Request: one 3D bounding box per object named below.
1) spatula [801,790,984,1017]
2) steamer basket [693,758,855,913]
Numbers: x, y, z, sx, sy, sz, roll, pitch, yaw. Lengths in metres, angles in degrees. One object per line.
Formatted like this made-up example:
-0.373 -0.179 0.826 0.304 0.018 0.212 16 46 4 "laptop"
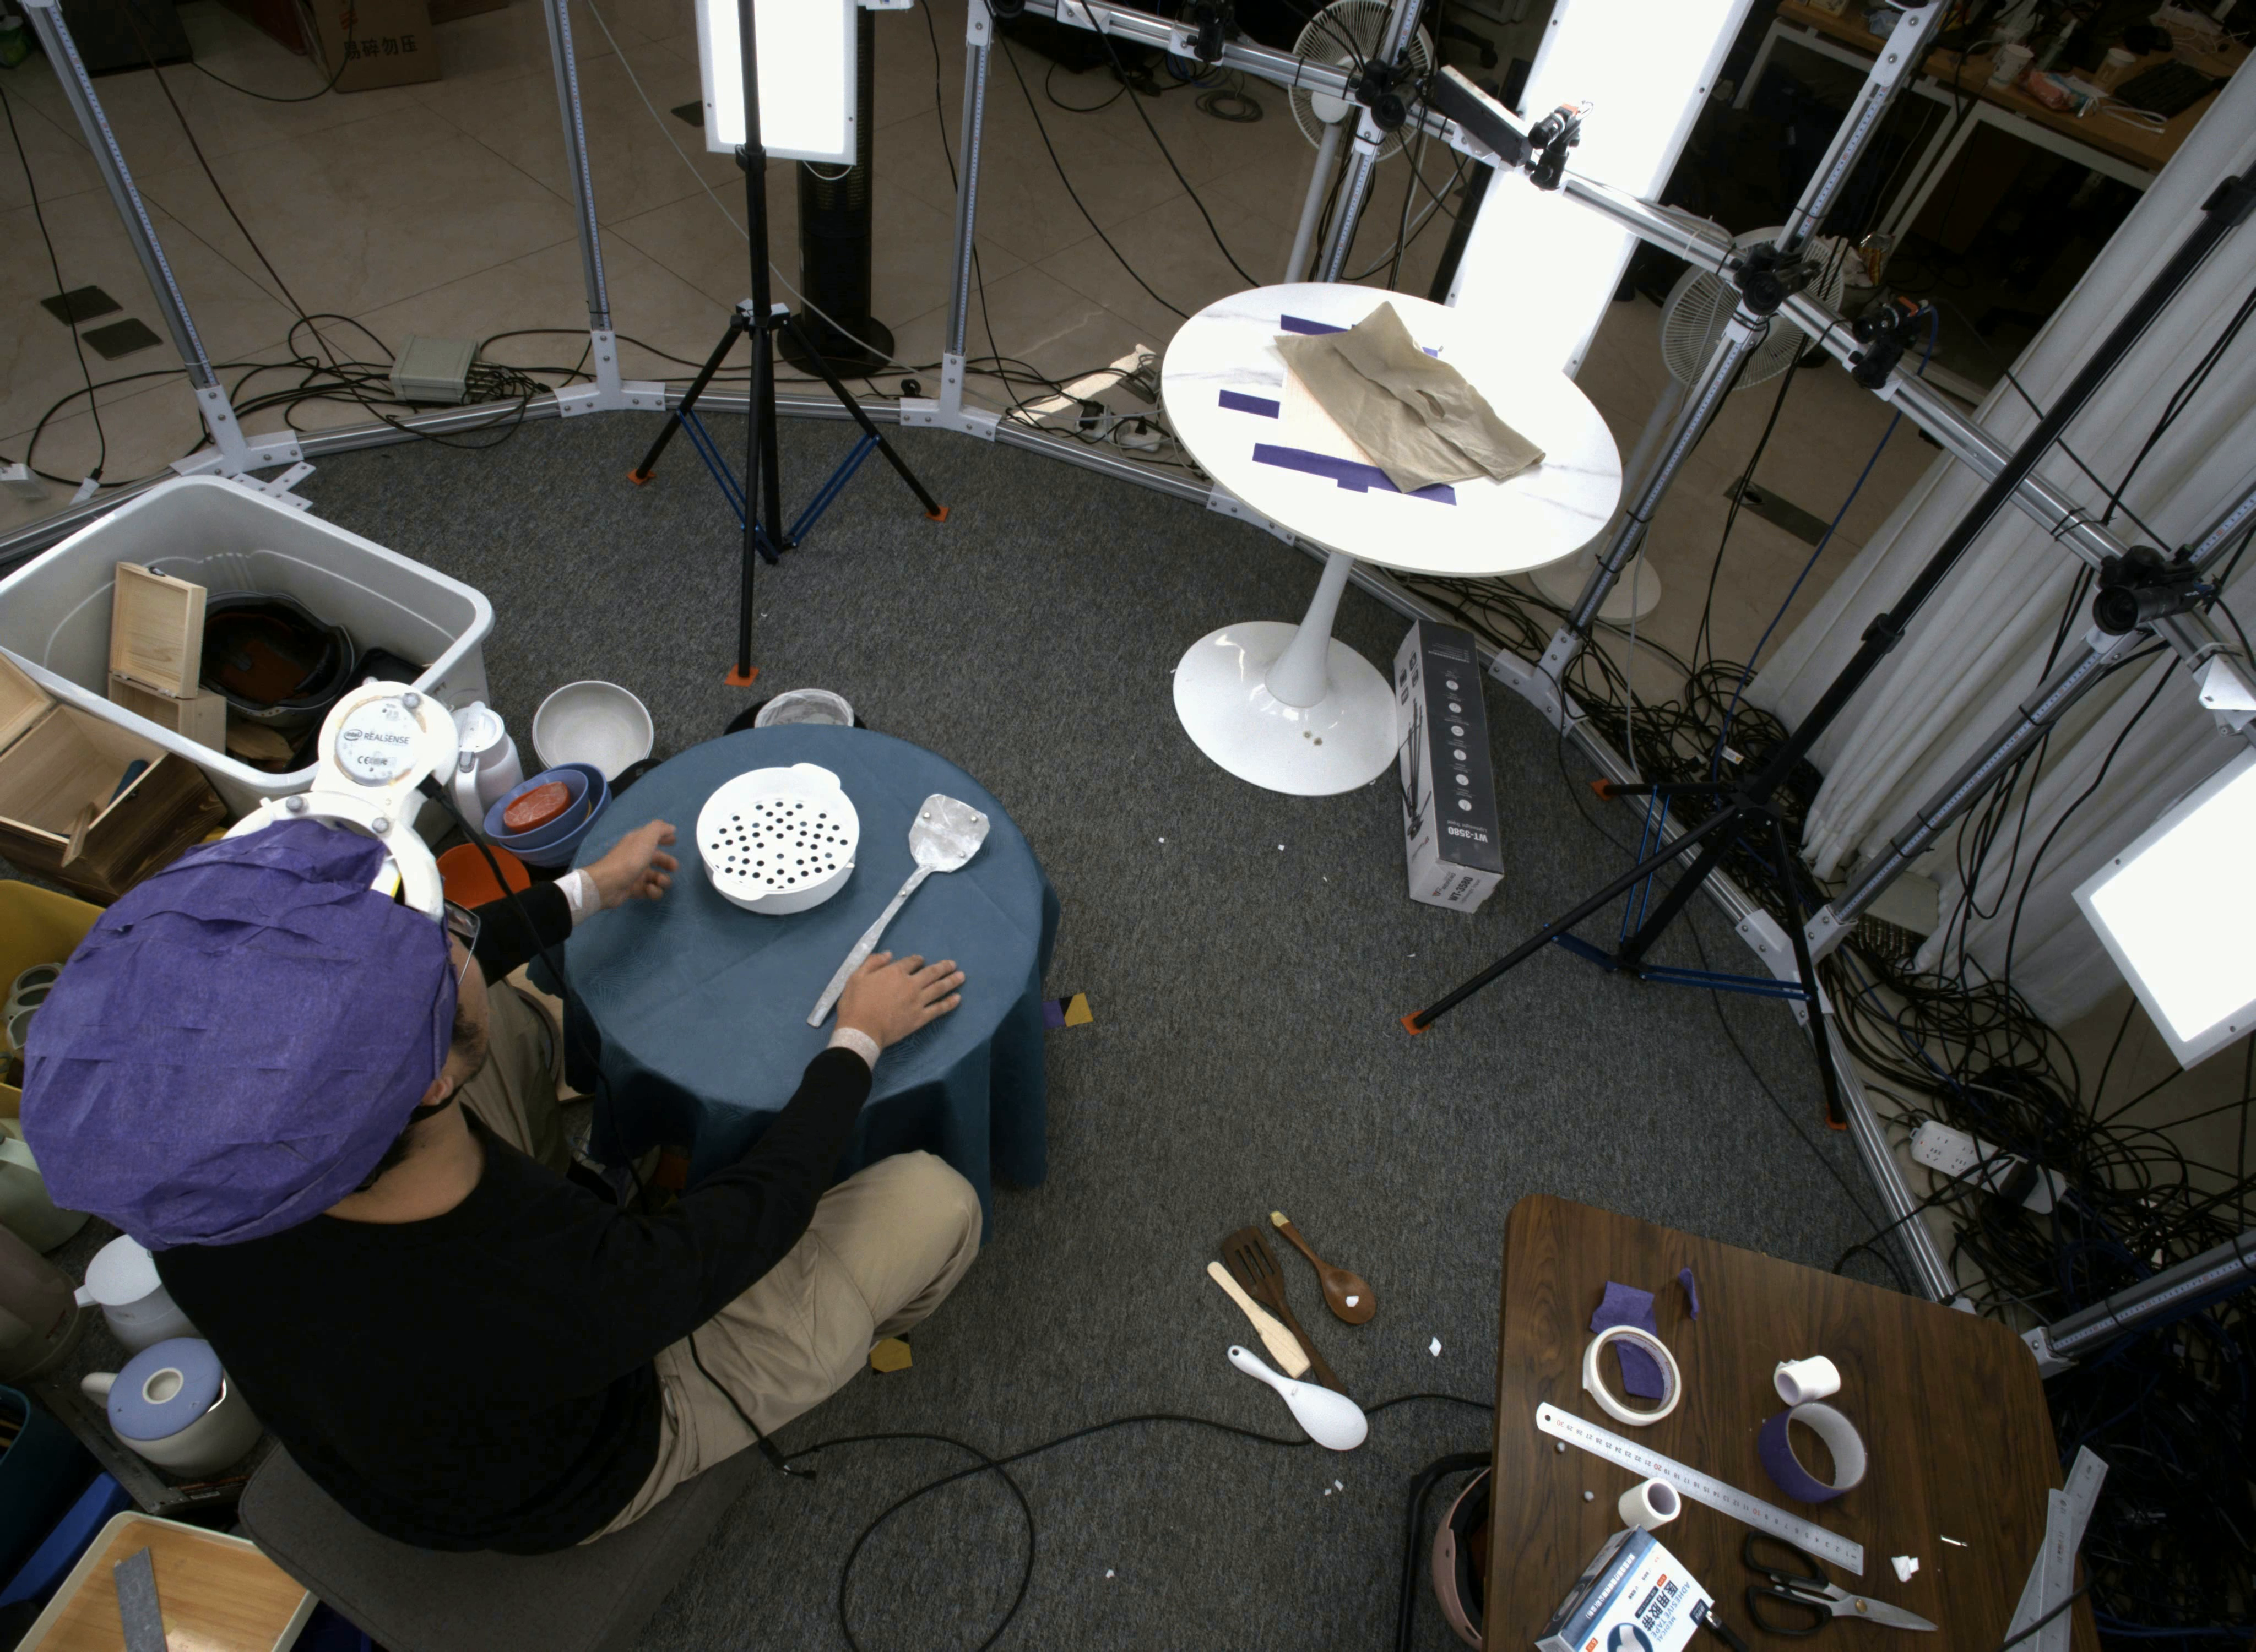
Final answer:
-0.305 0.097 1.653 0.097 0.045 0.363 28 52 5 "spatula"
-0.449 0.016 1.655 0.199 0.070 0.228 22 53 4 "steamer basket"
